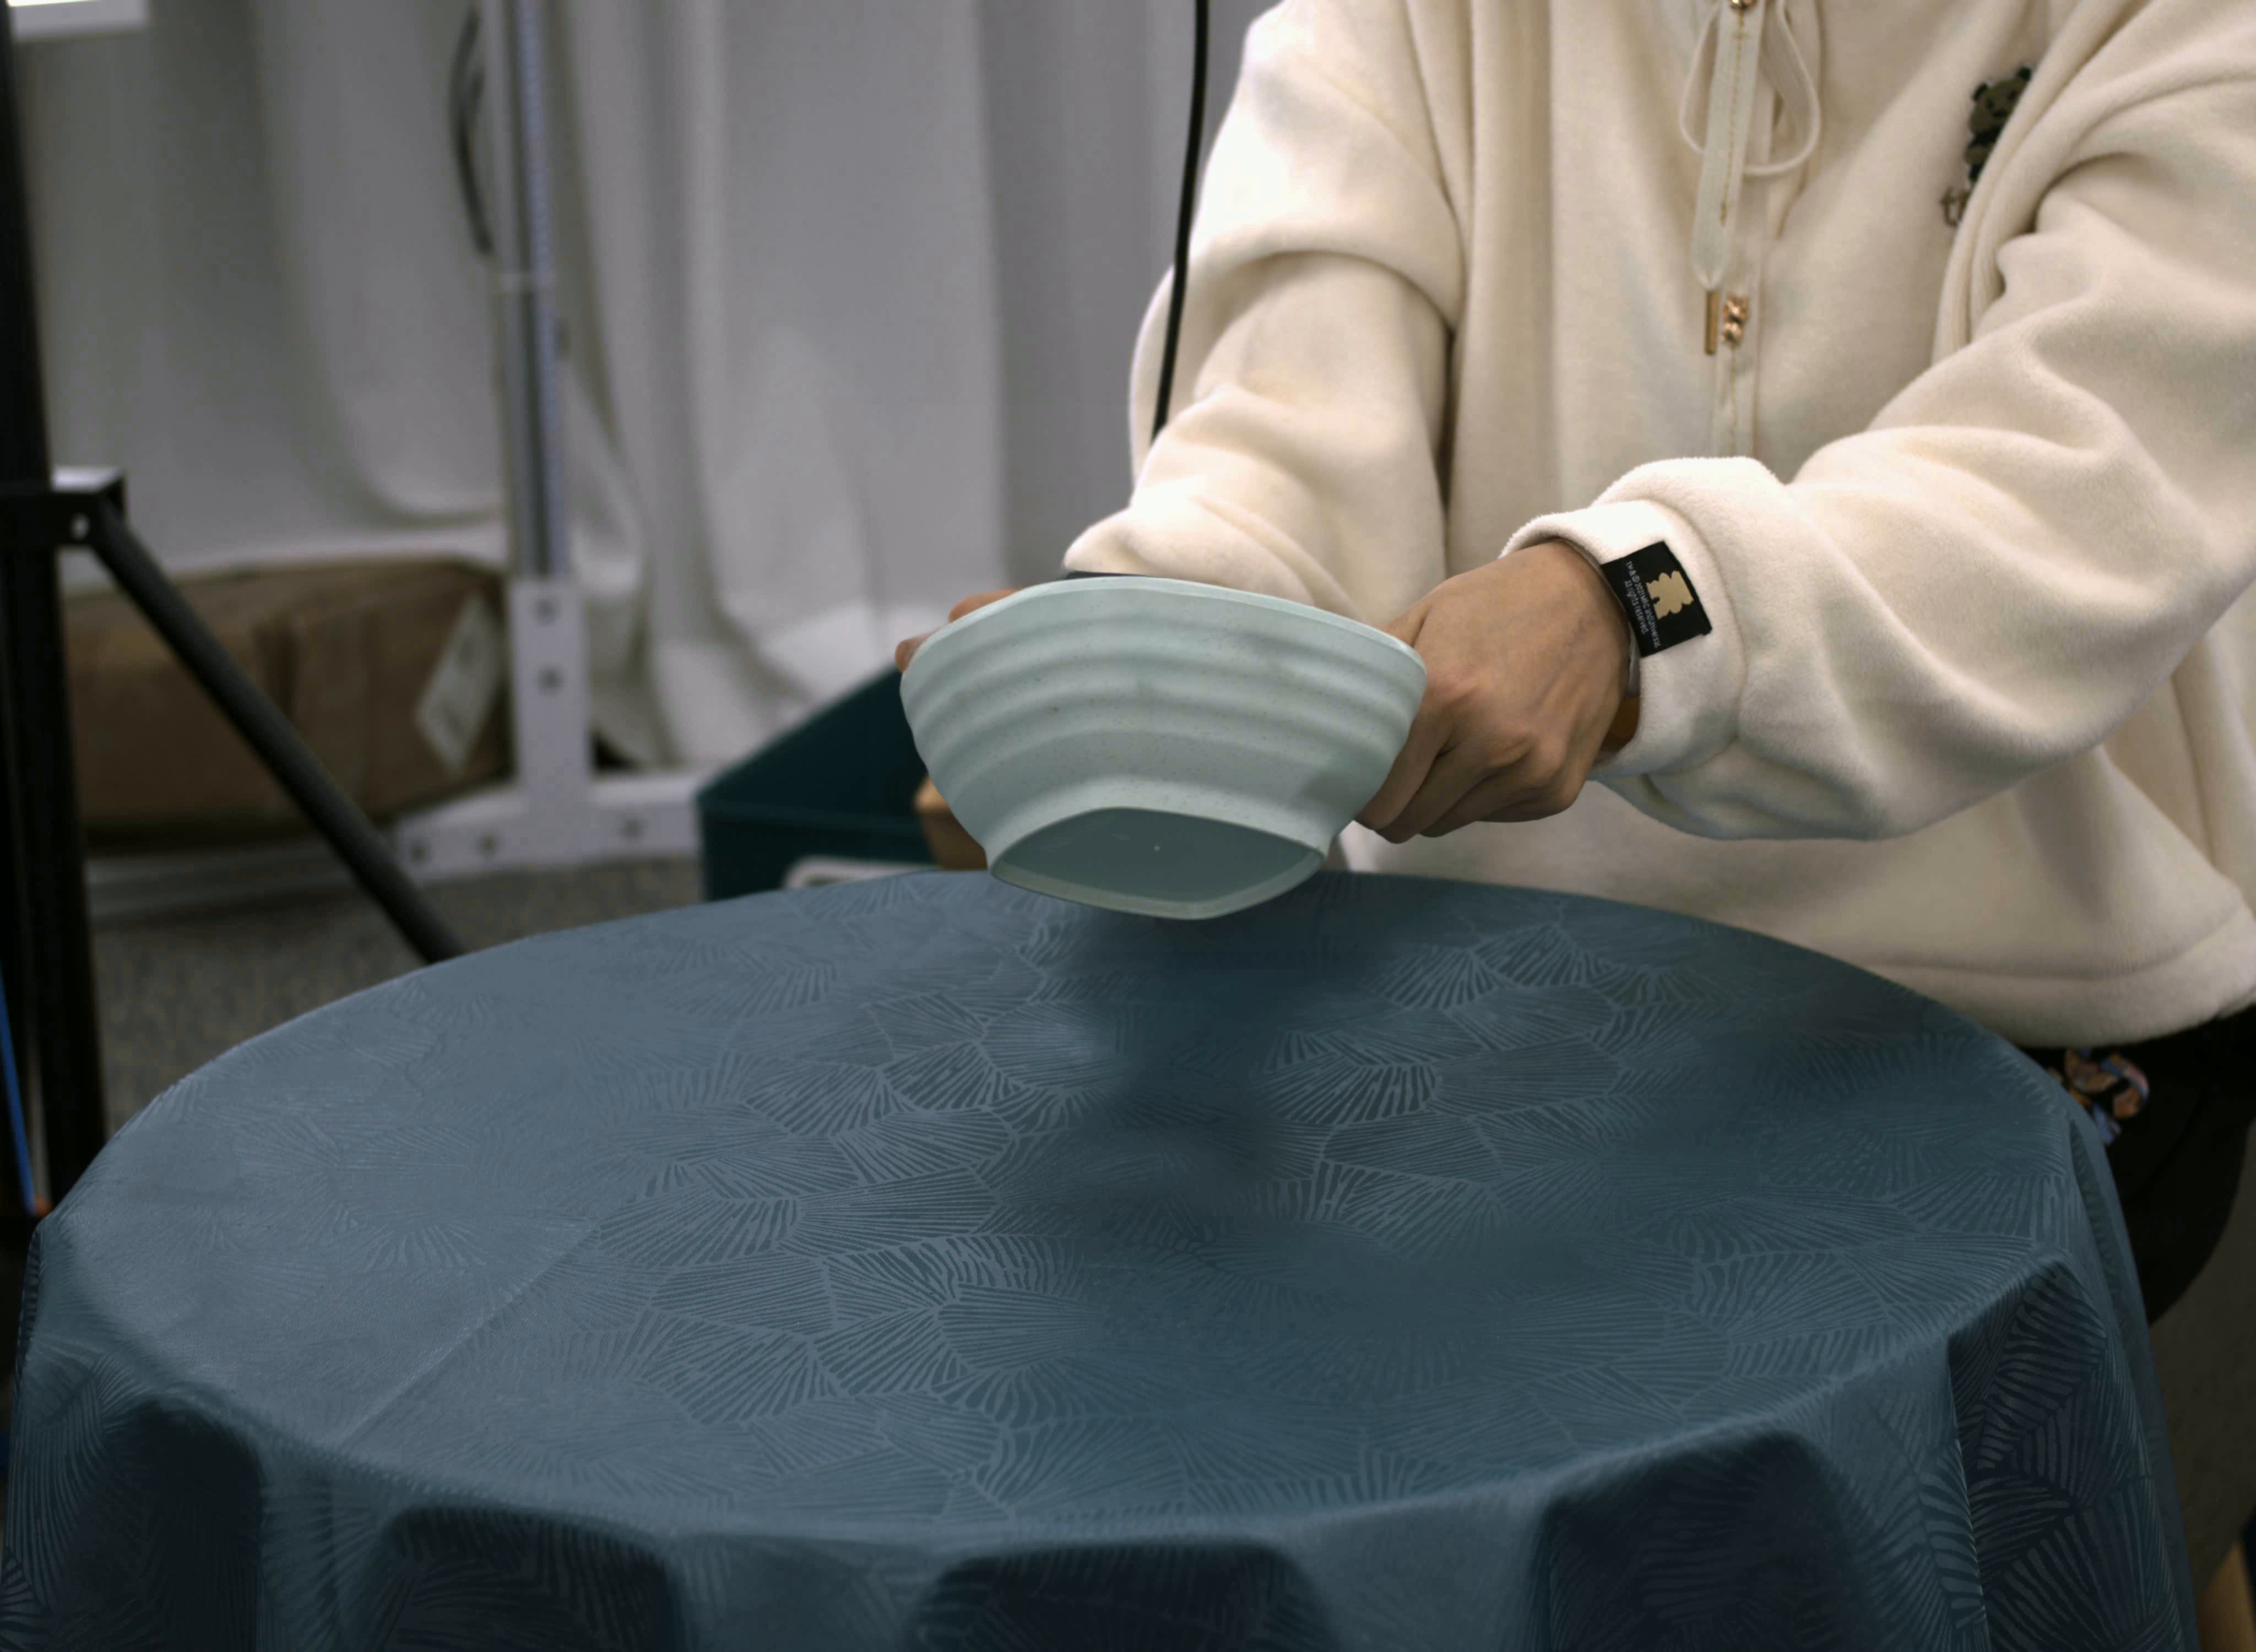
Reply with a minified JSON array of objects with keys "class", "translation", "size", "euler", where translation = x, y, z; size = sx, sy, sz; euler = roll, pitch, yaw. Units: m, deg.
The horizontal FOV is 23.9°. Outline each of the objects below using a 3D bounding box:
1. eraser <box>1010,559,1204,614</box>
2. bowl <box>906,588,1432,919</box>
[{"class":"eraser","translation":[-0.011,-0.041,1.543],"size":[0.053,0.031,0.125],"euler":[4,-19,-4]},{"class":"bowl","translation":[0.010,-0.015,1.490],"size":[0.151,0.059,0.151],"euler":[3,-18,0]}]
